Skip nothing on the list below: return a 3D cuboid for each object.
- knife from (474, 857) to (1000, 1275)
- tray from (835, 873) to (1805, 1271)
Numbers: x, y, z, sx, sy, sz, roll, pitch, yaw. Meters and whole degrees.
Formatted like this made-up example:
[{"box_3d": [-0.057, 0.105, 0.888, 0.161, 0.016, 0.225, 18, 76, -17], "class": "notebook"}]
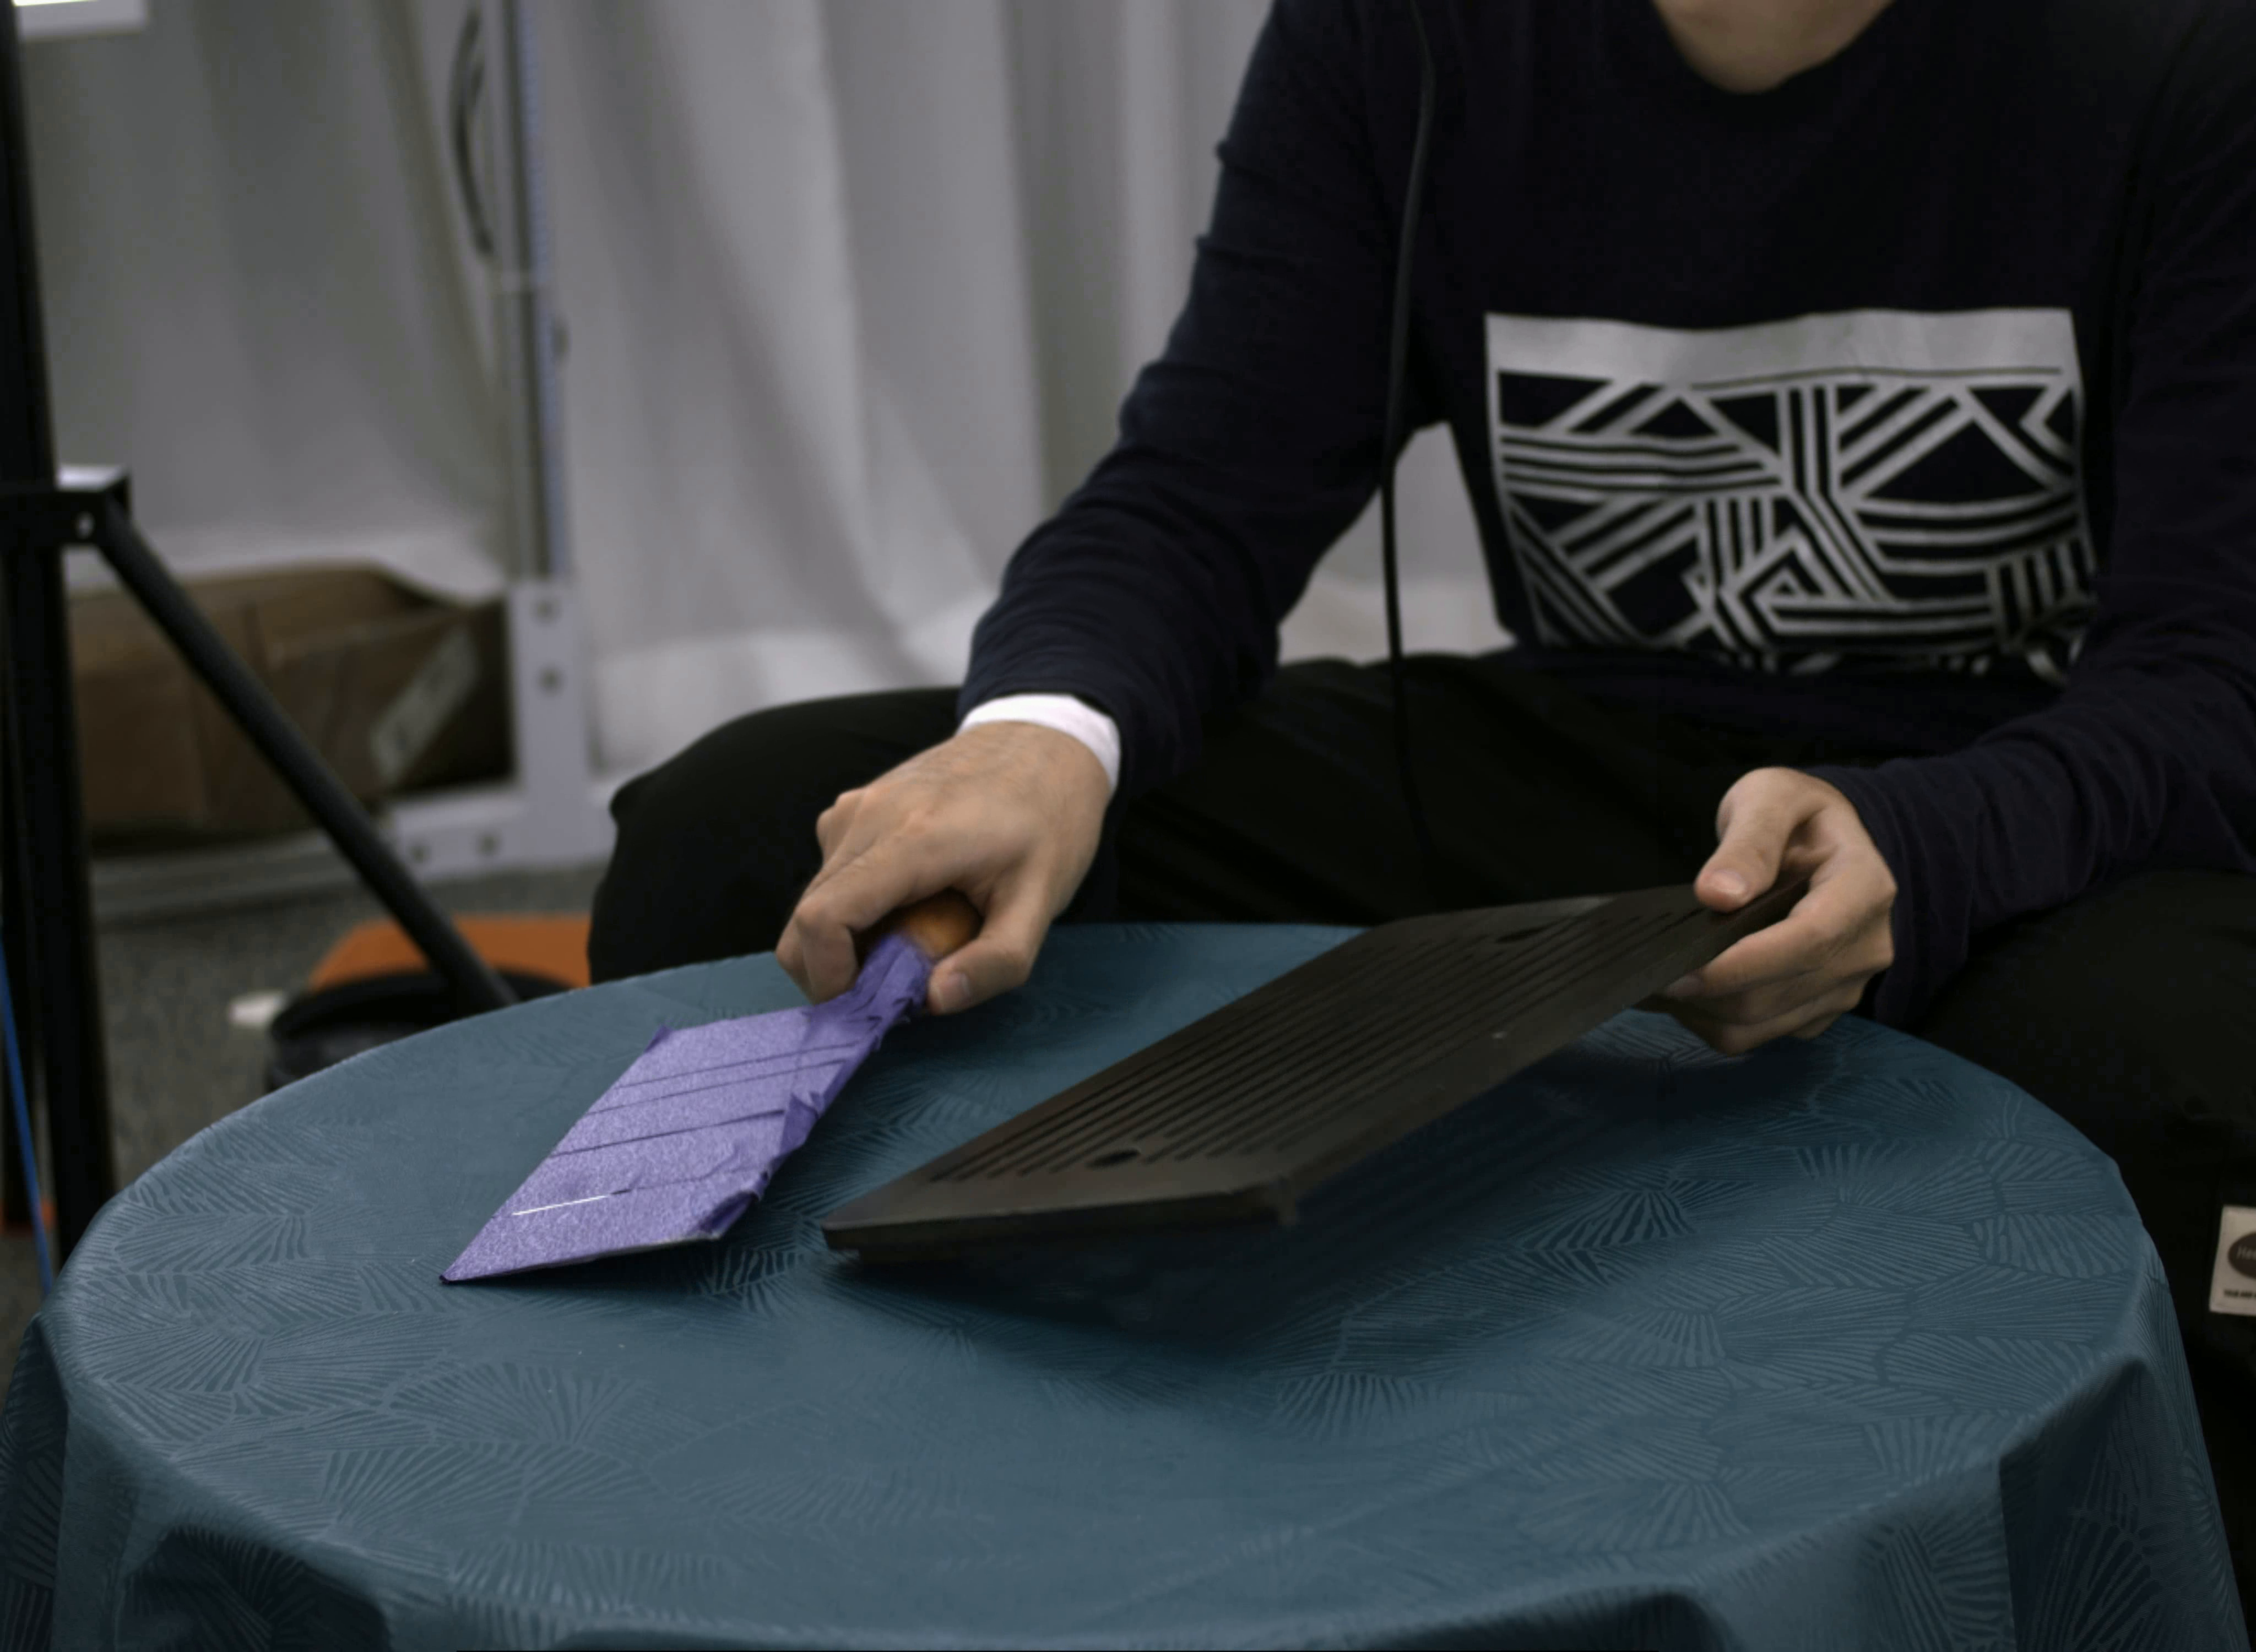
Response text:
[{"box_3d": [-0.118, 0.071, 1.639, 0.104, 0.032, 0.313, -8, 14, 16], "class": "knife"}, {"box_3d": [0.063, 0.072, 1.558, 0.173, 0.018, 0.300, -8, 11, 38], "class": "tray"}]
